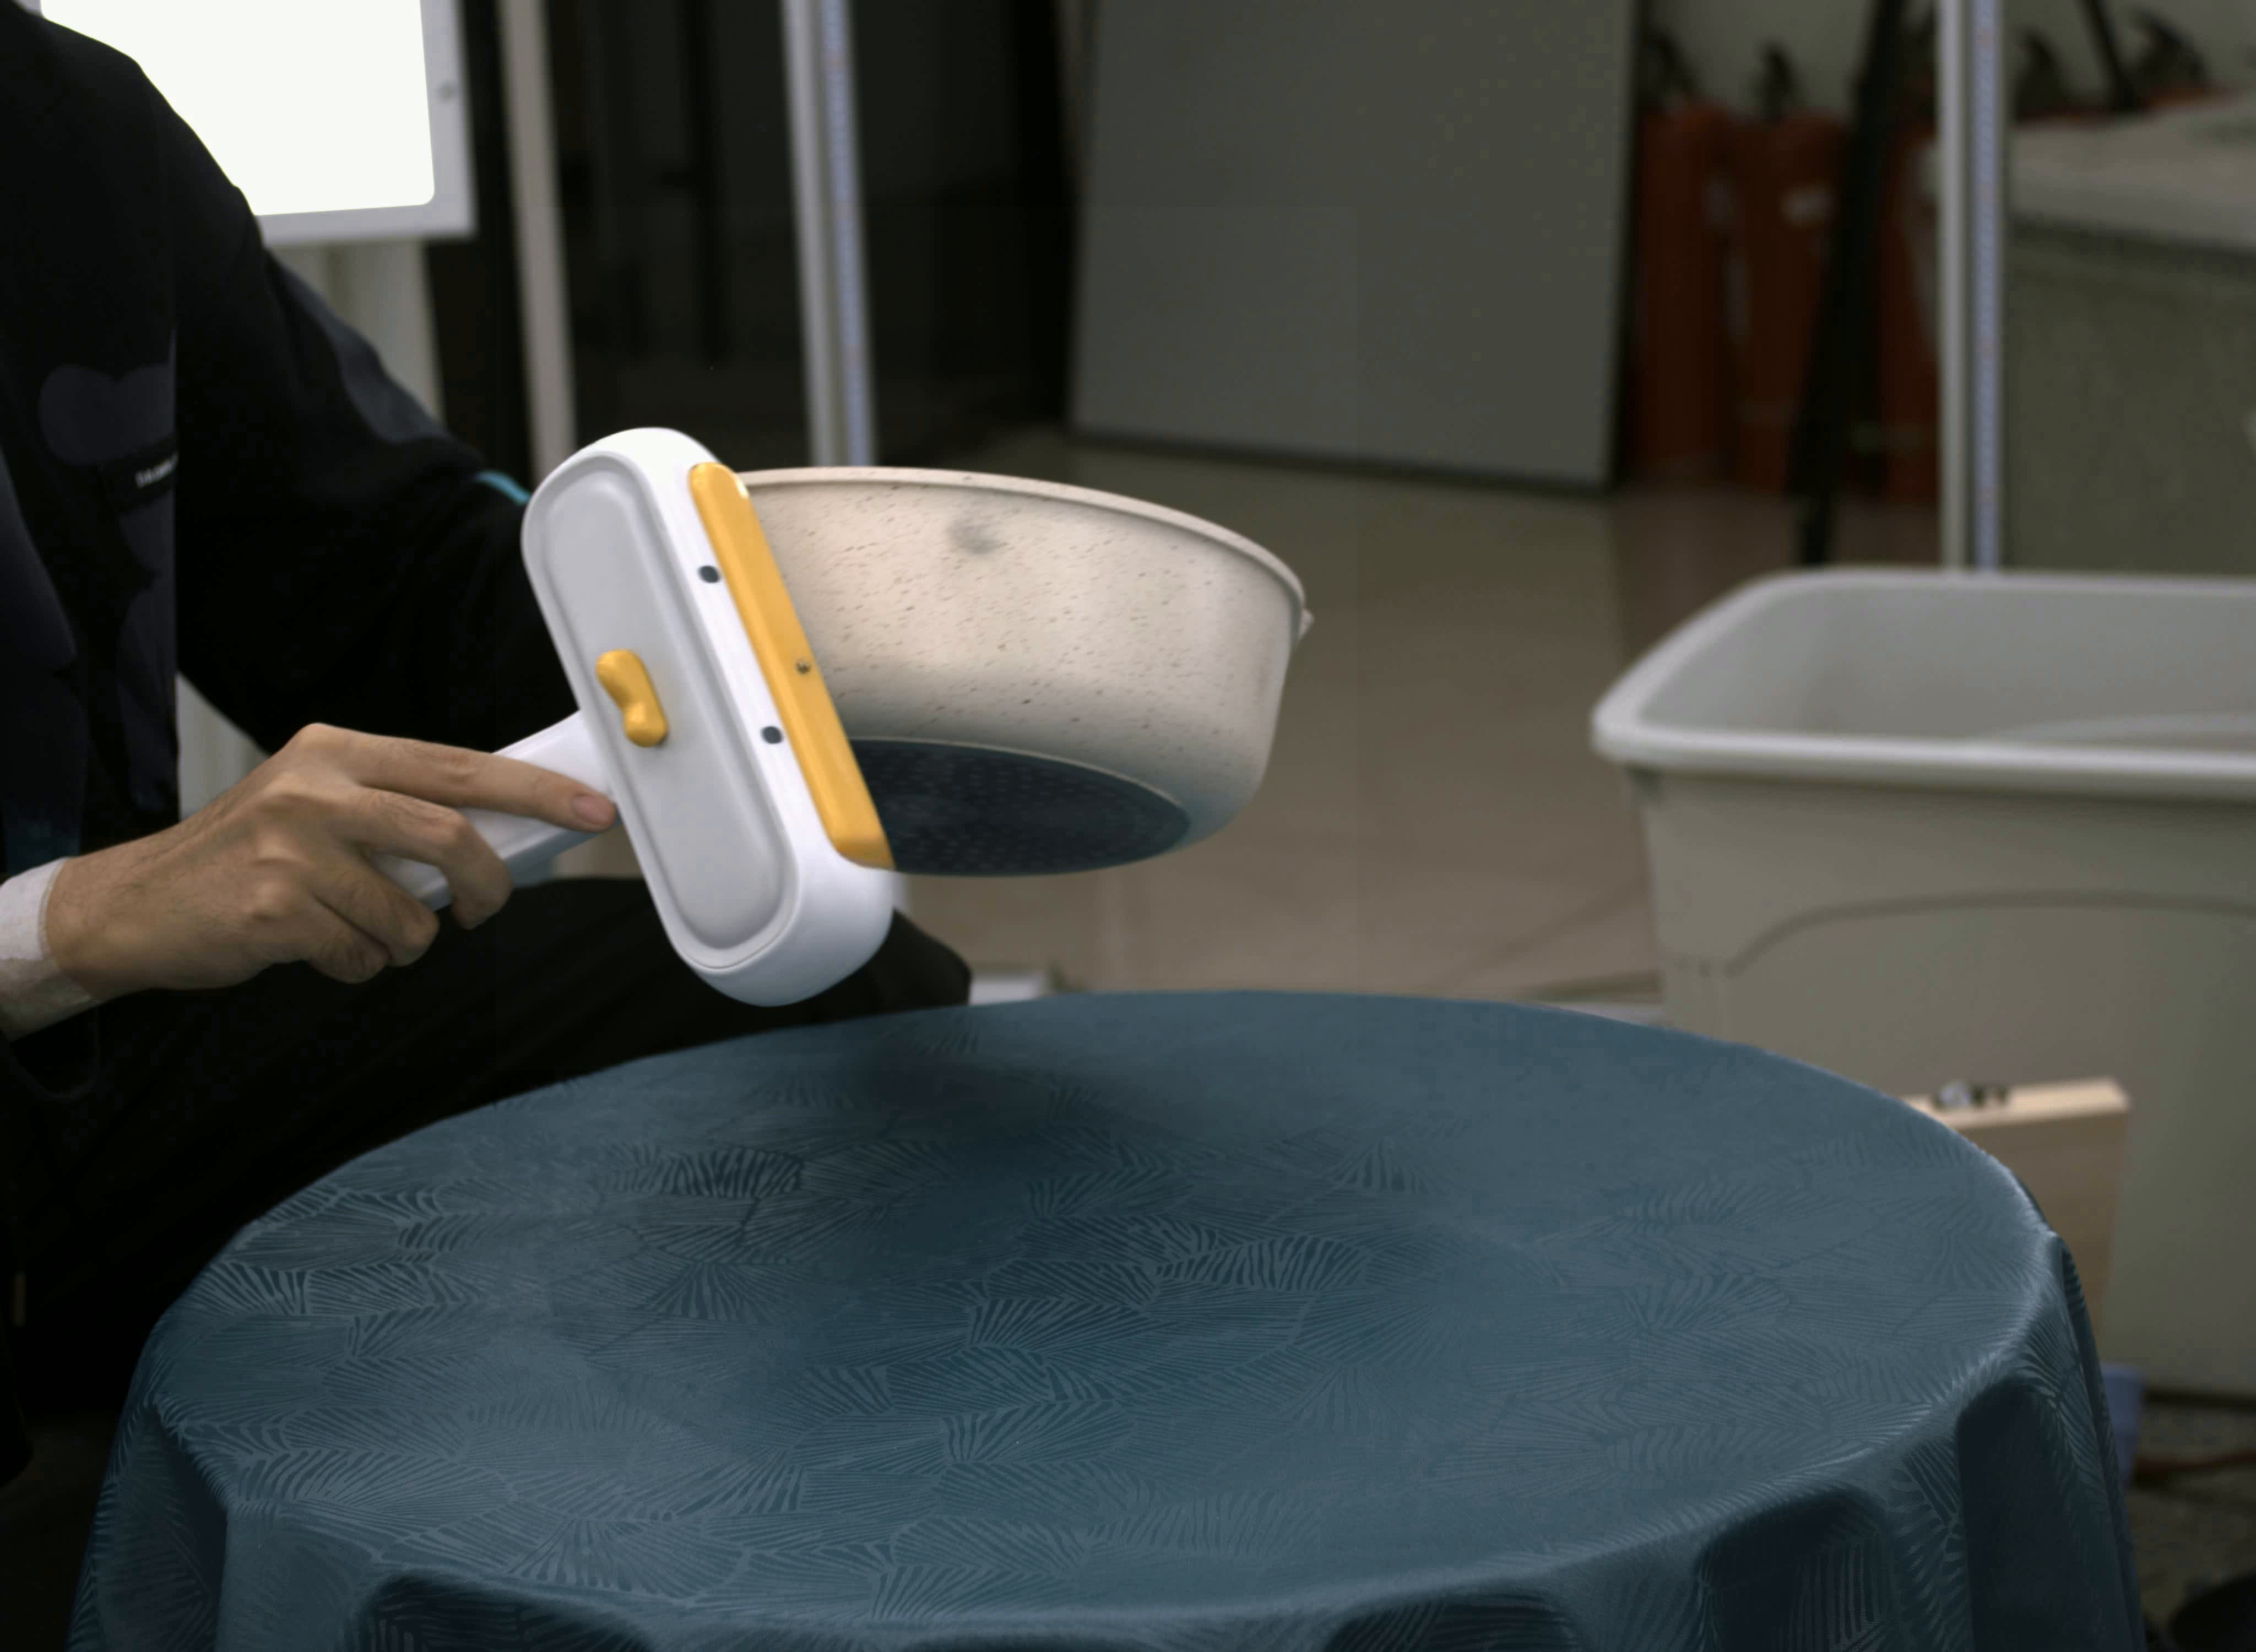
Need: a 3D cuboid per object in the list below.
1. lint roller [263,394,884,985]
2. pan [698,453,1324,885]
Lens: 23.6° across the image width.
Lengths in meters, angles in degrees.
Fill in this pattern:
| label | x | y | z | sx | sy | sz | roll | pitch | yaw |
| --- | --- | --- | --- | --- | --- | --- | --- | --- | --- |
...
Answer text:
| label | x | y | z | sx | sy | sz | roll | pitch | yaw |
| --- | --- | --- | --- | --- | --- | --- | --- | --- | --- |
| lint roller | -0.185 | -0.014 | 1.701 | 0.193 | 0.195 | 0.073 | -34 | -17 | 20 |
| pan | -0.078 | -0.029 | 1.907 | 0.259 | 0.103 | 0.437 | 4 | -15 | -10 |
